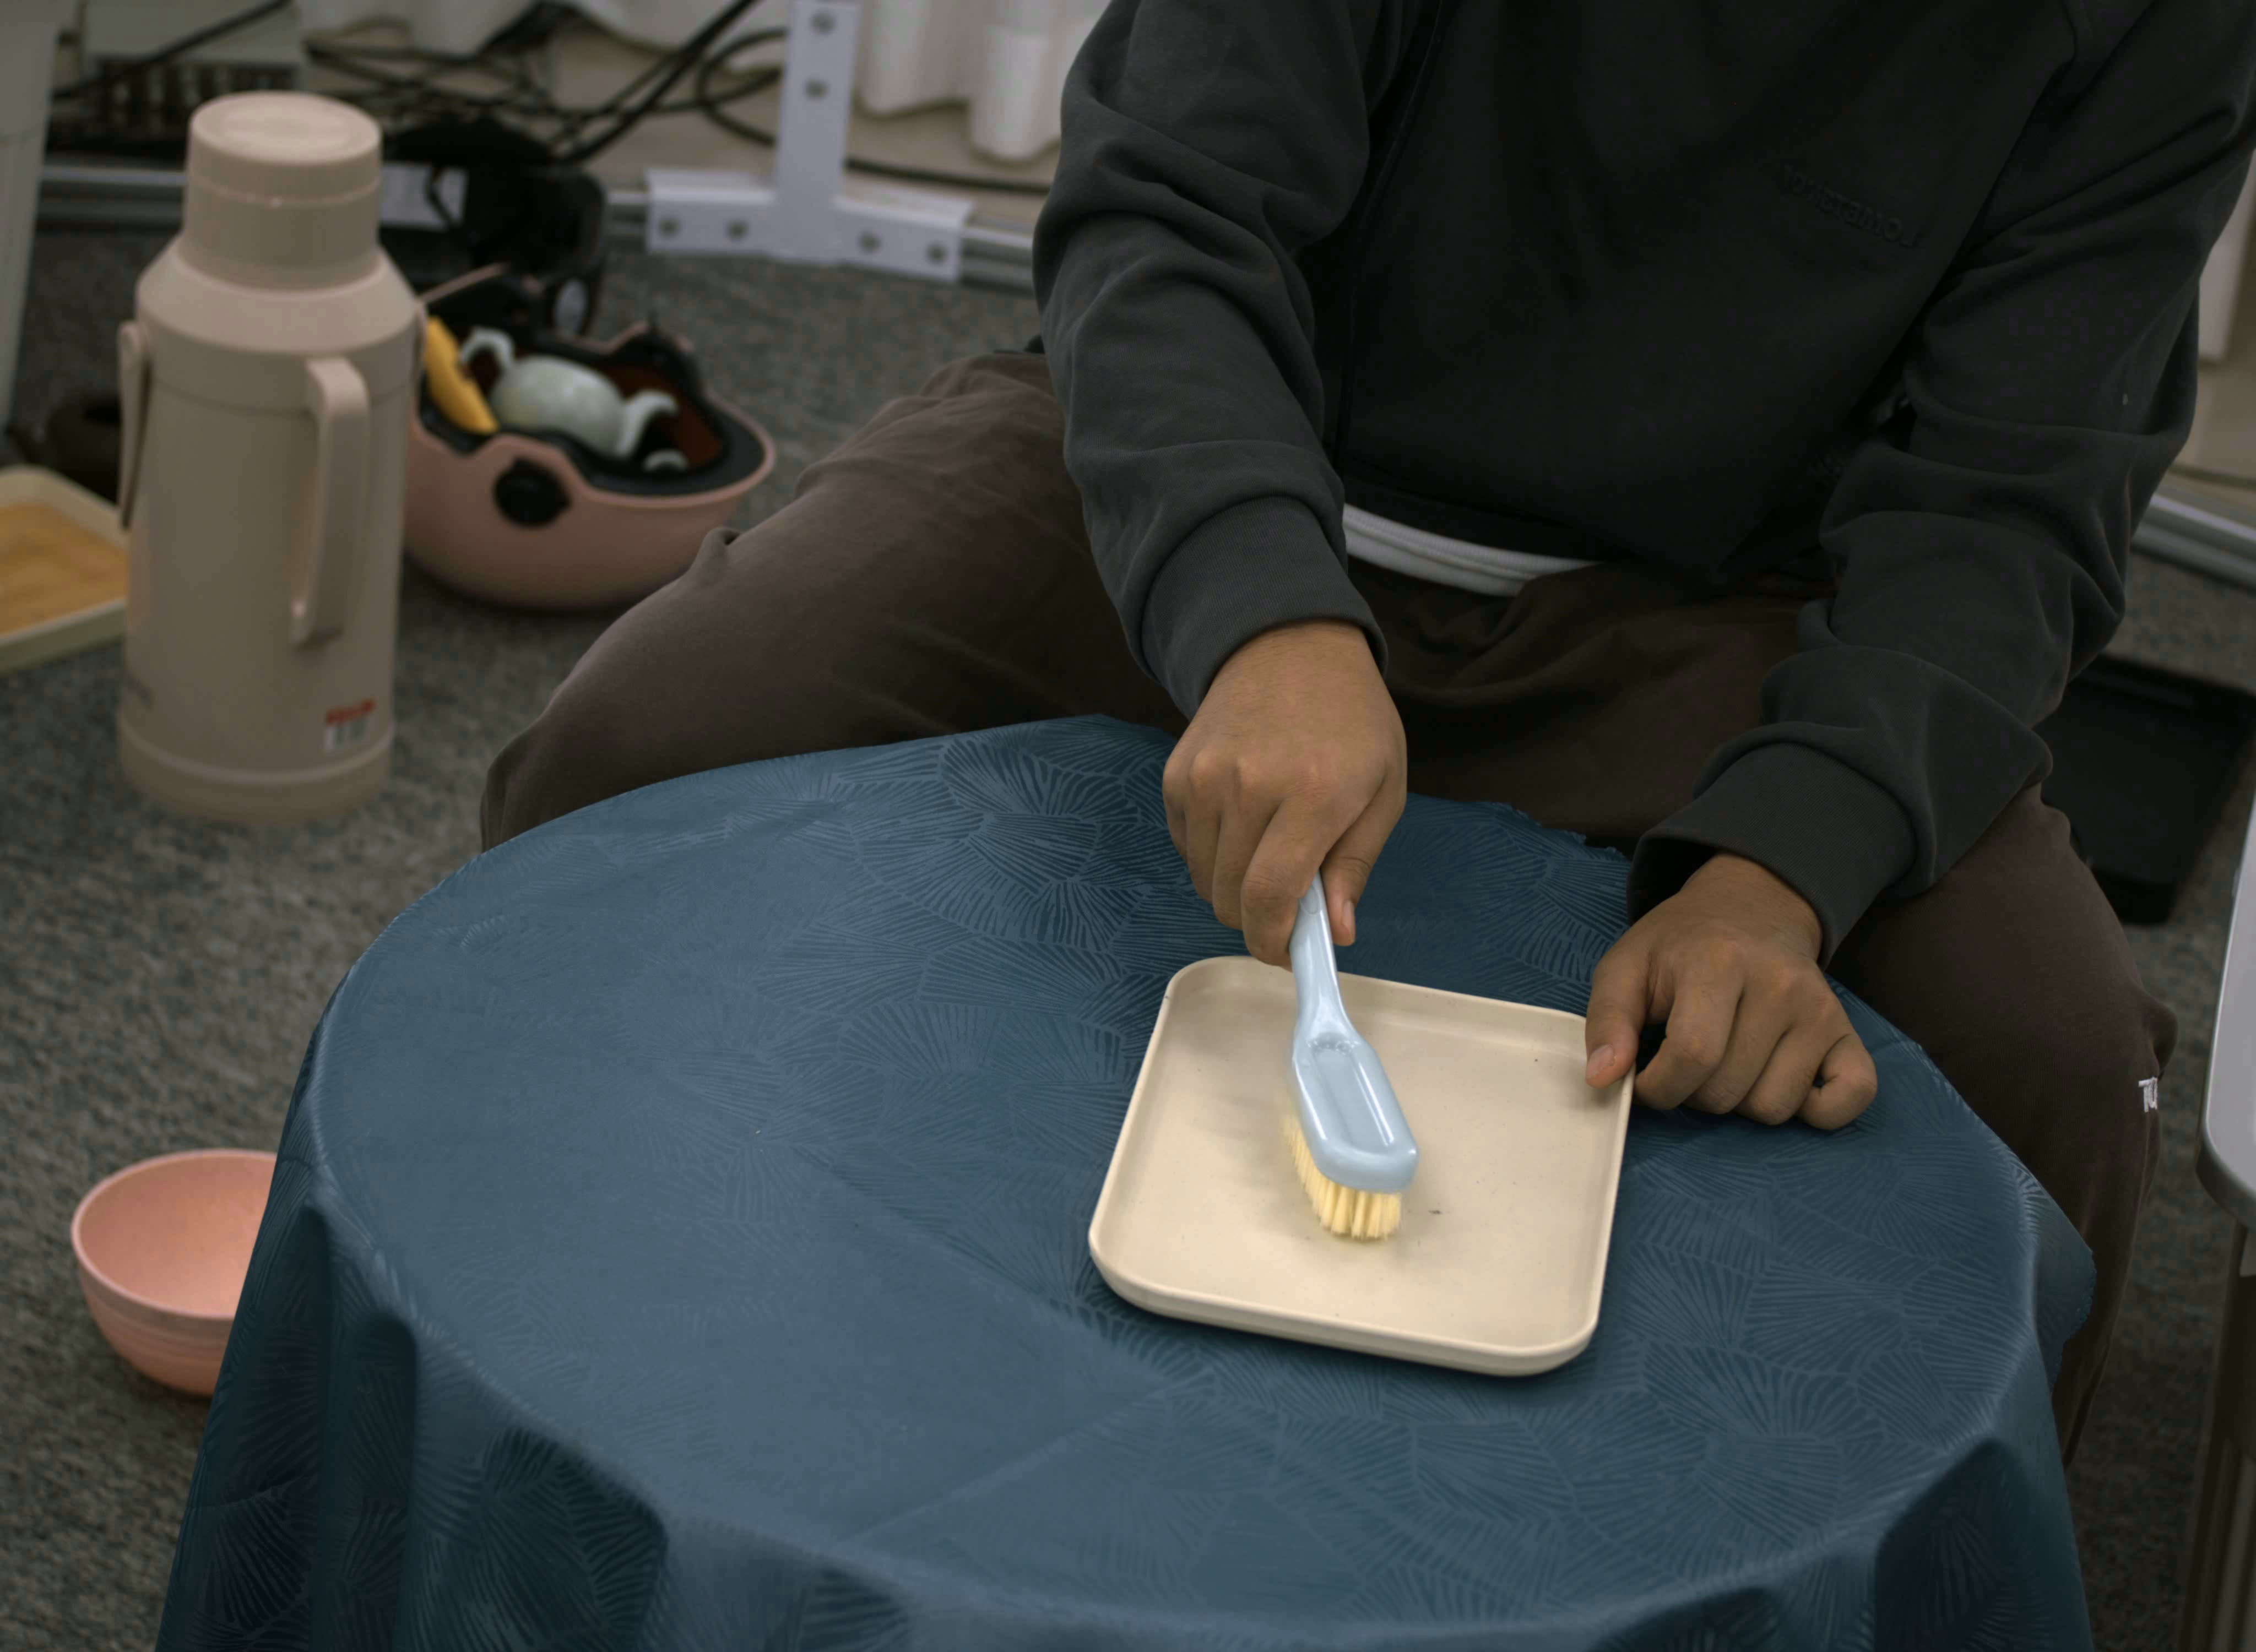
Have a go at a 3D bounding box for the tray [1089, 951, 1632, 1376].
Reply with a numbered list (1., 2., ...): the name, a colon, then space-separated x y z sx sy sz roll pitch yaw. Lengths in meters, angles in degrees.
1. tray: 0.082 0.114 1.824 0.171 0.017 0.240 10 27 5

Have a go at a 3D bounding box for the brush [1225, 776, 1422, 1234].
1. brush: 0.062 0.058 1.866 0.037 0.049 0.231 0 40 -13
